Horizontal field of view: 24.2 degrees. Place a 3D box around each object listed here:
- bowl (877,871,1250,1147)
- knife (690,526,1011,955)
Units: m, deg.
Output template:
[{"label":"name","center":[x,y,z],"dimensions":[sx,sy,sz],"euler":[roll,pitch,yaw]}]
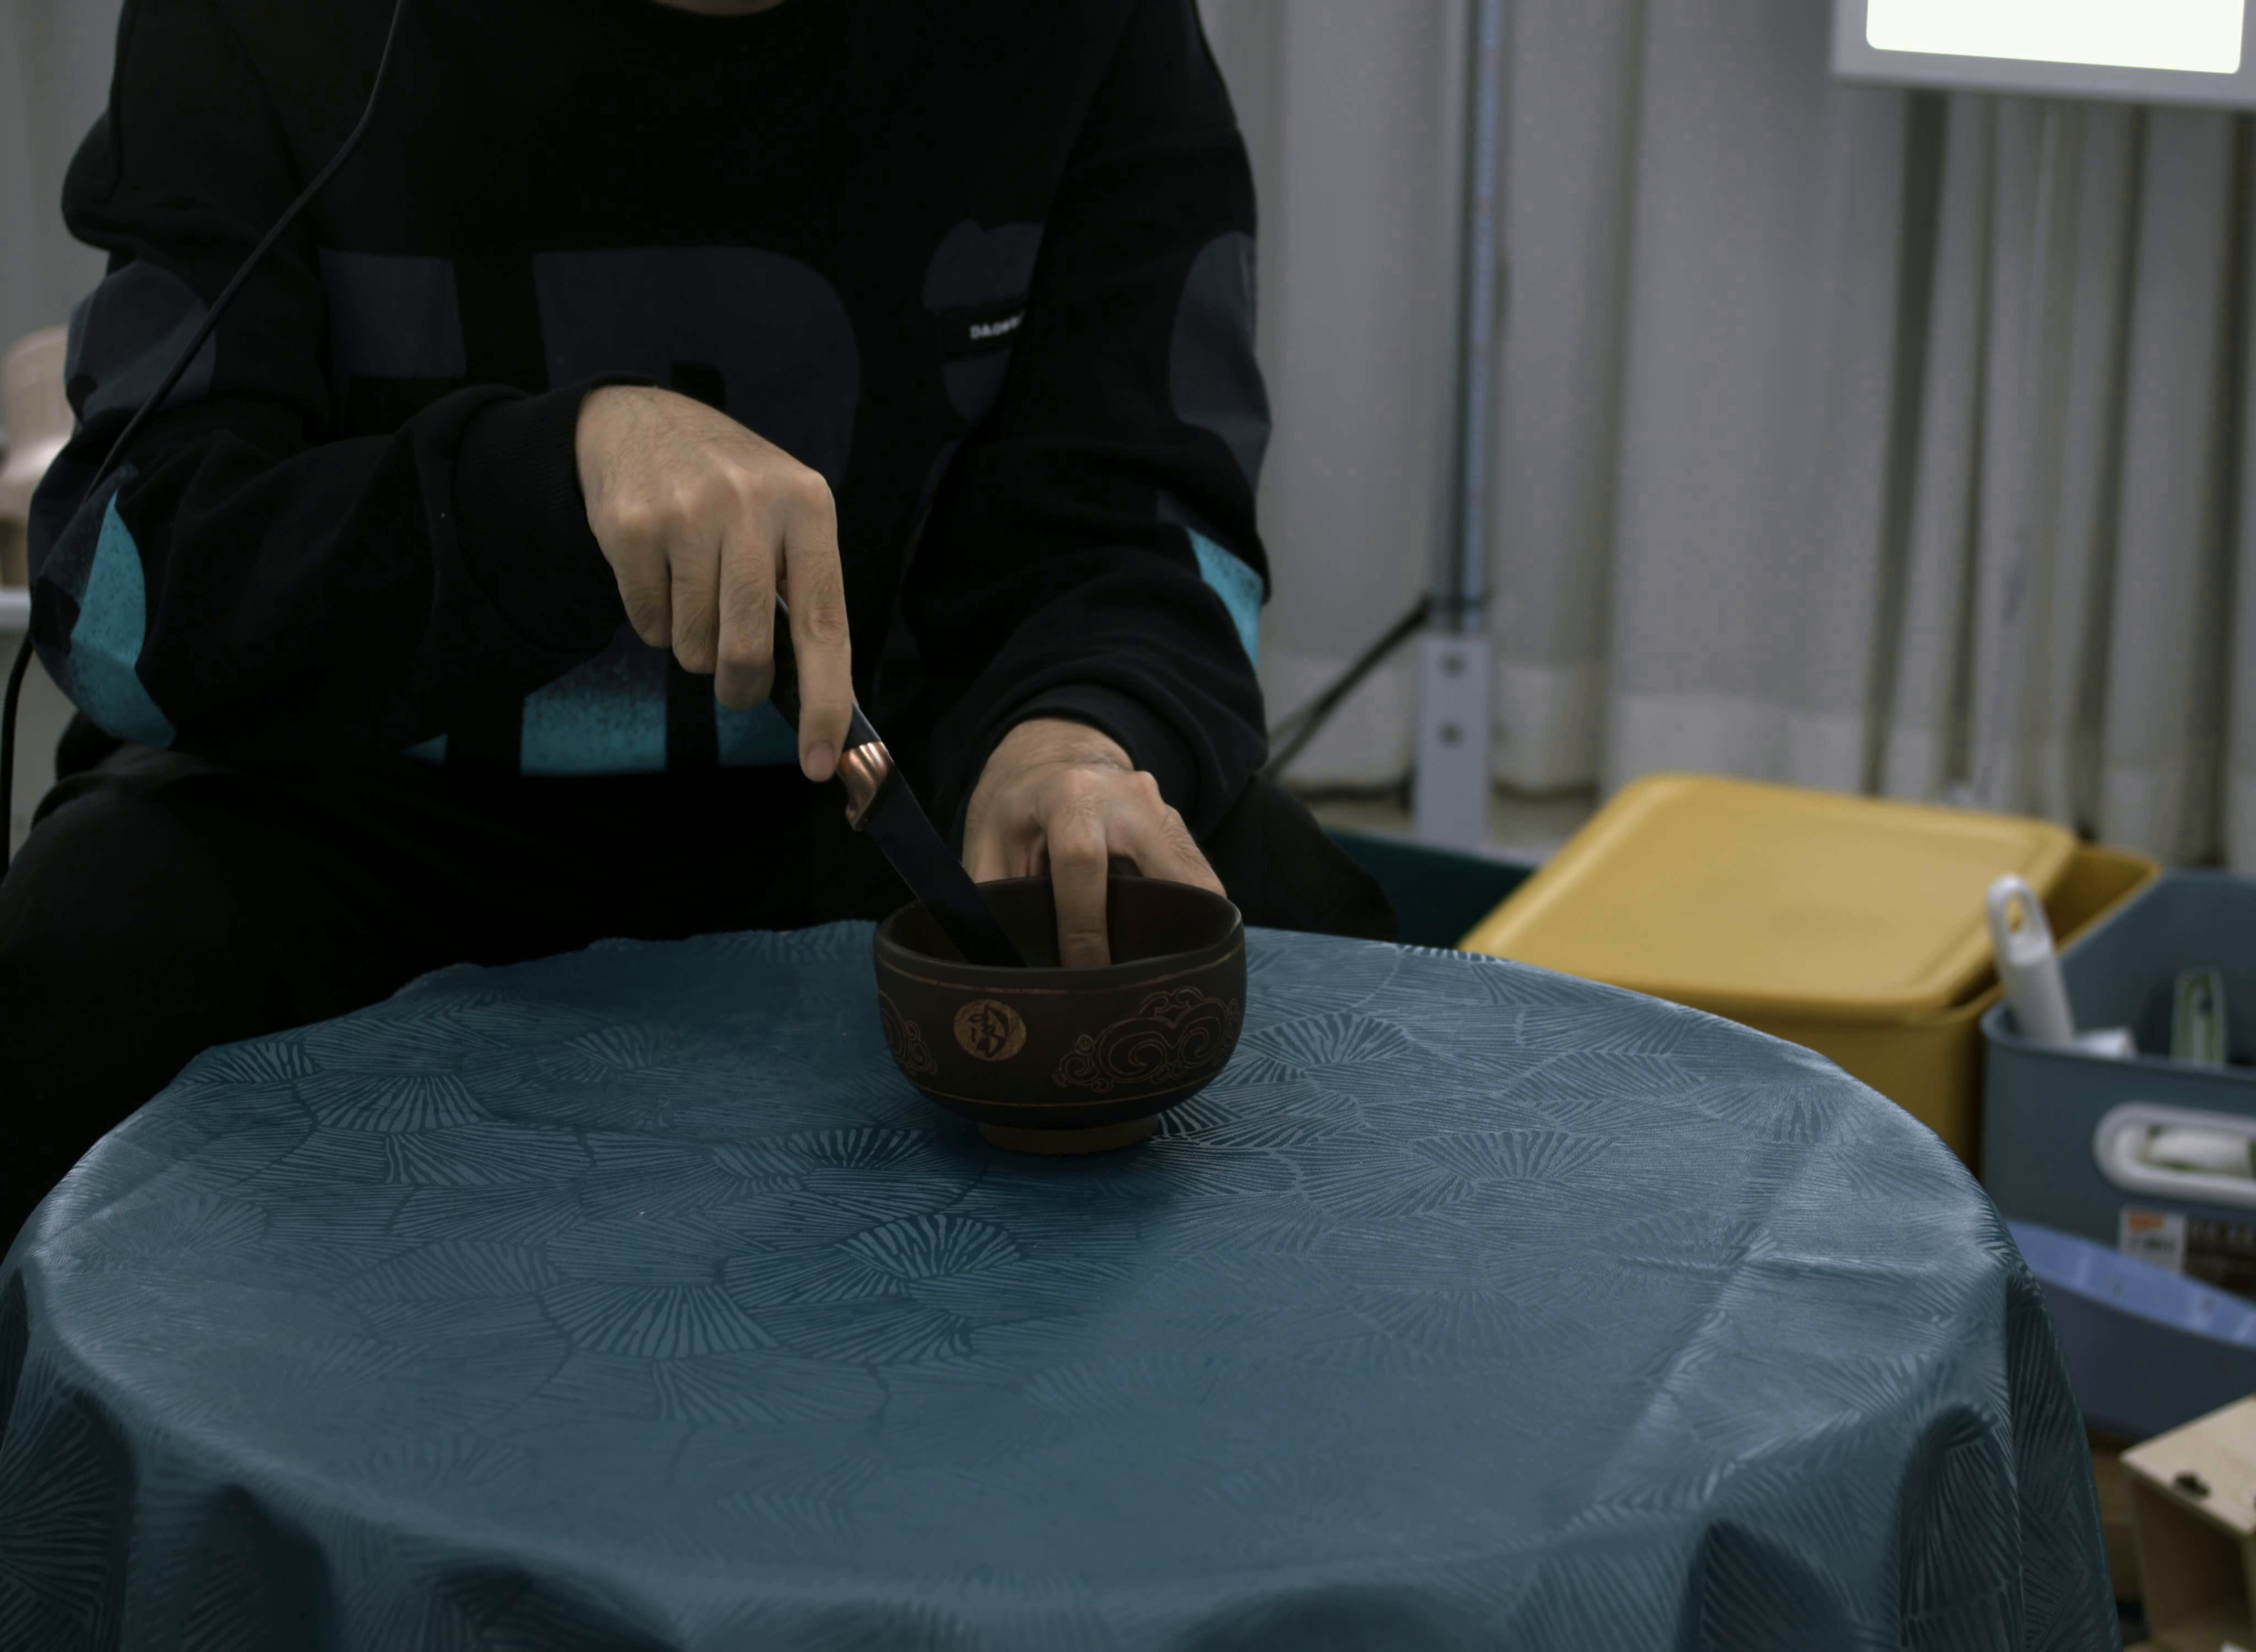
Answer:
[{"label":"bowl","center":[-0.020,0.061,1.663],"dimensions":[0.117,0.070,0.117],"euler":[0,13,0]},{"label":"knife","center":[-0.076,-0.005,1.685],"dimensions":[0.224,0.026,0.017],"euler":[55,24,14]}]
